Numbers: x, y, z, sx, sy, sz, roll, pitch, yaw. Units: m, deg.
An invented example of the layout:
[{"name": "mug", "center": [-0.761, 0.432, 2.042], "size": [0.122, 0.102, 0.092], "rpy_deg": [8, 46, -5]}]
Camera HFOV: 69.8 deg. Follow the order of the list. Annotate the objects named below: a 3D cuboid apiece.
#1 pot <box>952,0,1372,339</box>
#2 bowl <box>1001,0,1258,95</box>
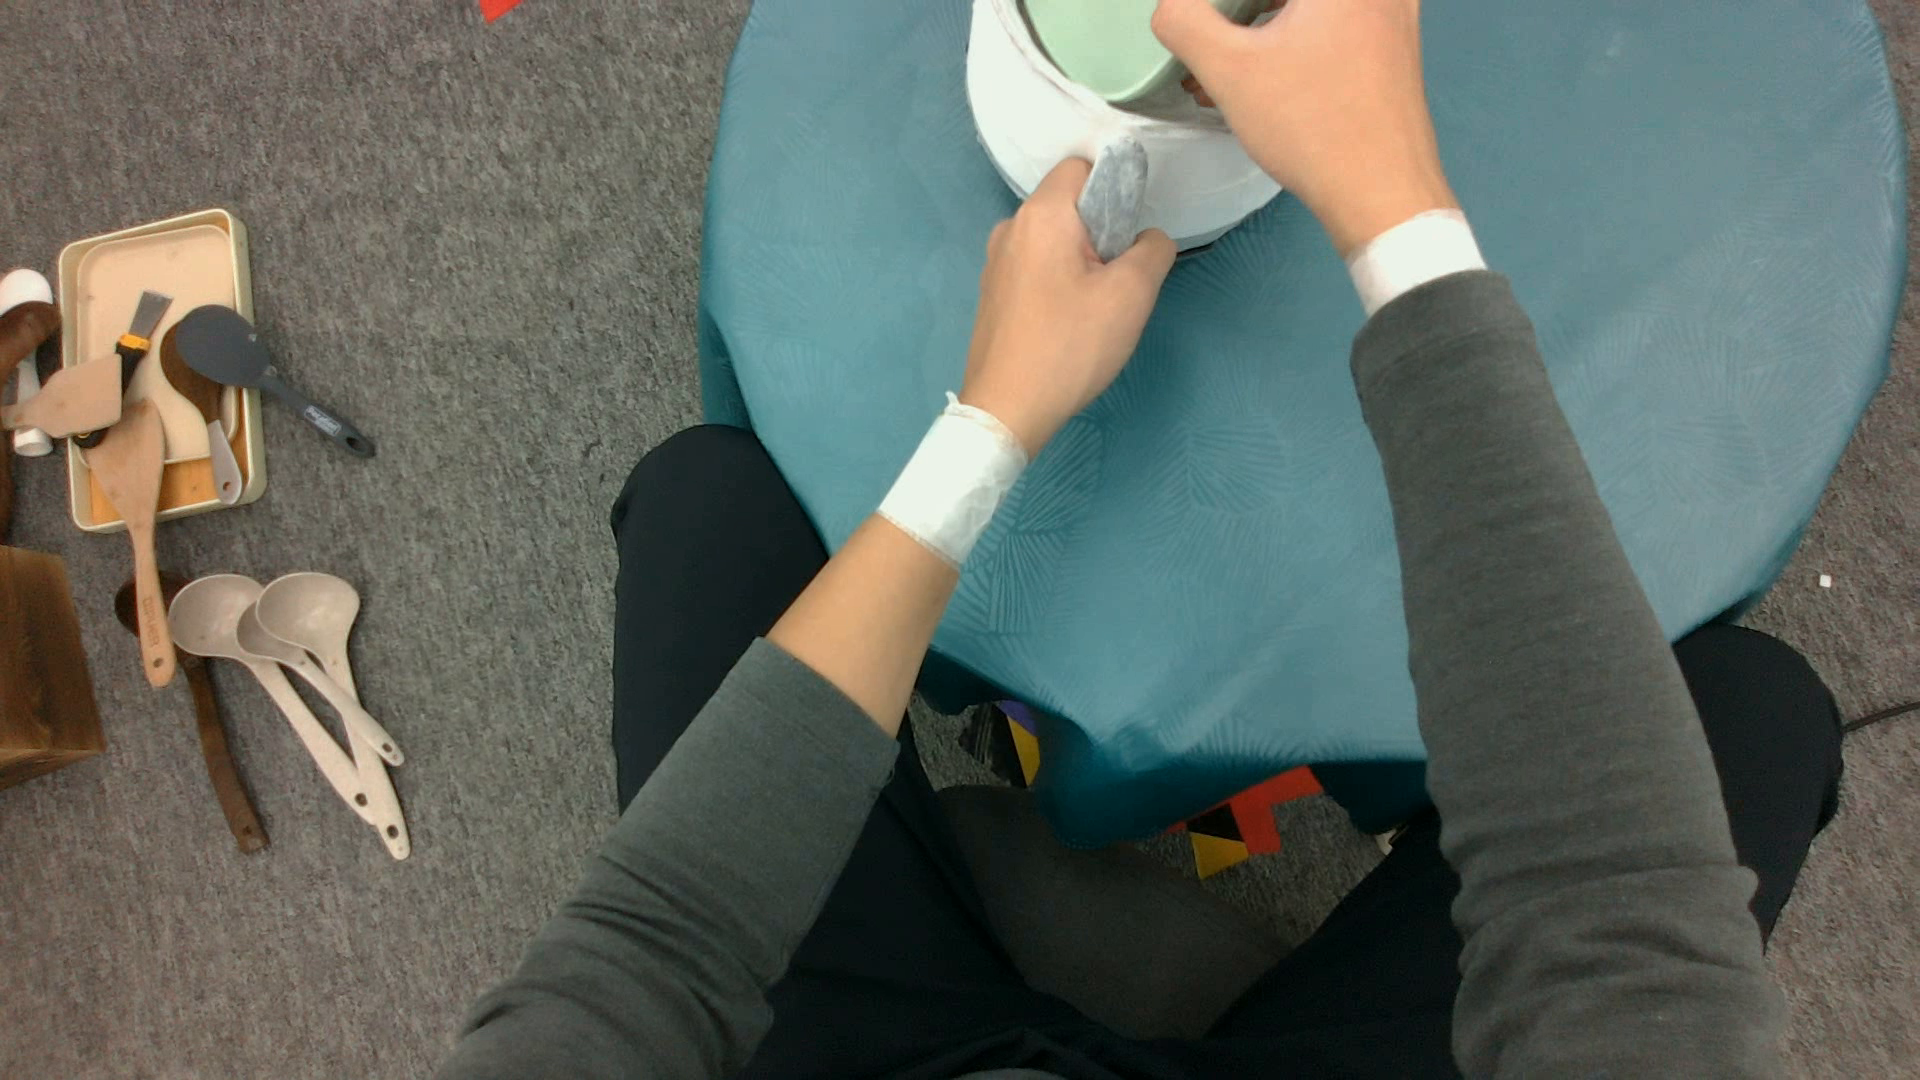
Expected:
[{"name": "pot", "center": [0.079, -0.214, 0.637], "size": [0.179, 0.136, 0.234], "rpy_deg": [15, 77, 1]}, {"name": "bowl", "center": [0.083, -0.252, 0.564], "size": [0.151, 0.059, 0.151], "rpy_deg": [-6, 82, 50]}]
